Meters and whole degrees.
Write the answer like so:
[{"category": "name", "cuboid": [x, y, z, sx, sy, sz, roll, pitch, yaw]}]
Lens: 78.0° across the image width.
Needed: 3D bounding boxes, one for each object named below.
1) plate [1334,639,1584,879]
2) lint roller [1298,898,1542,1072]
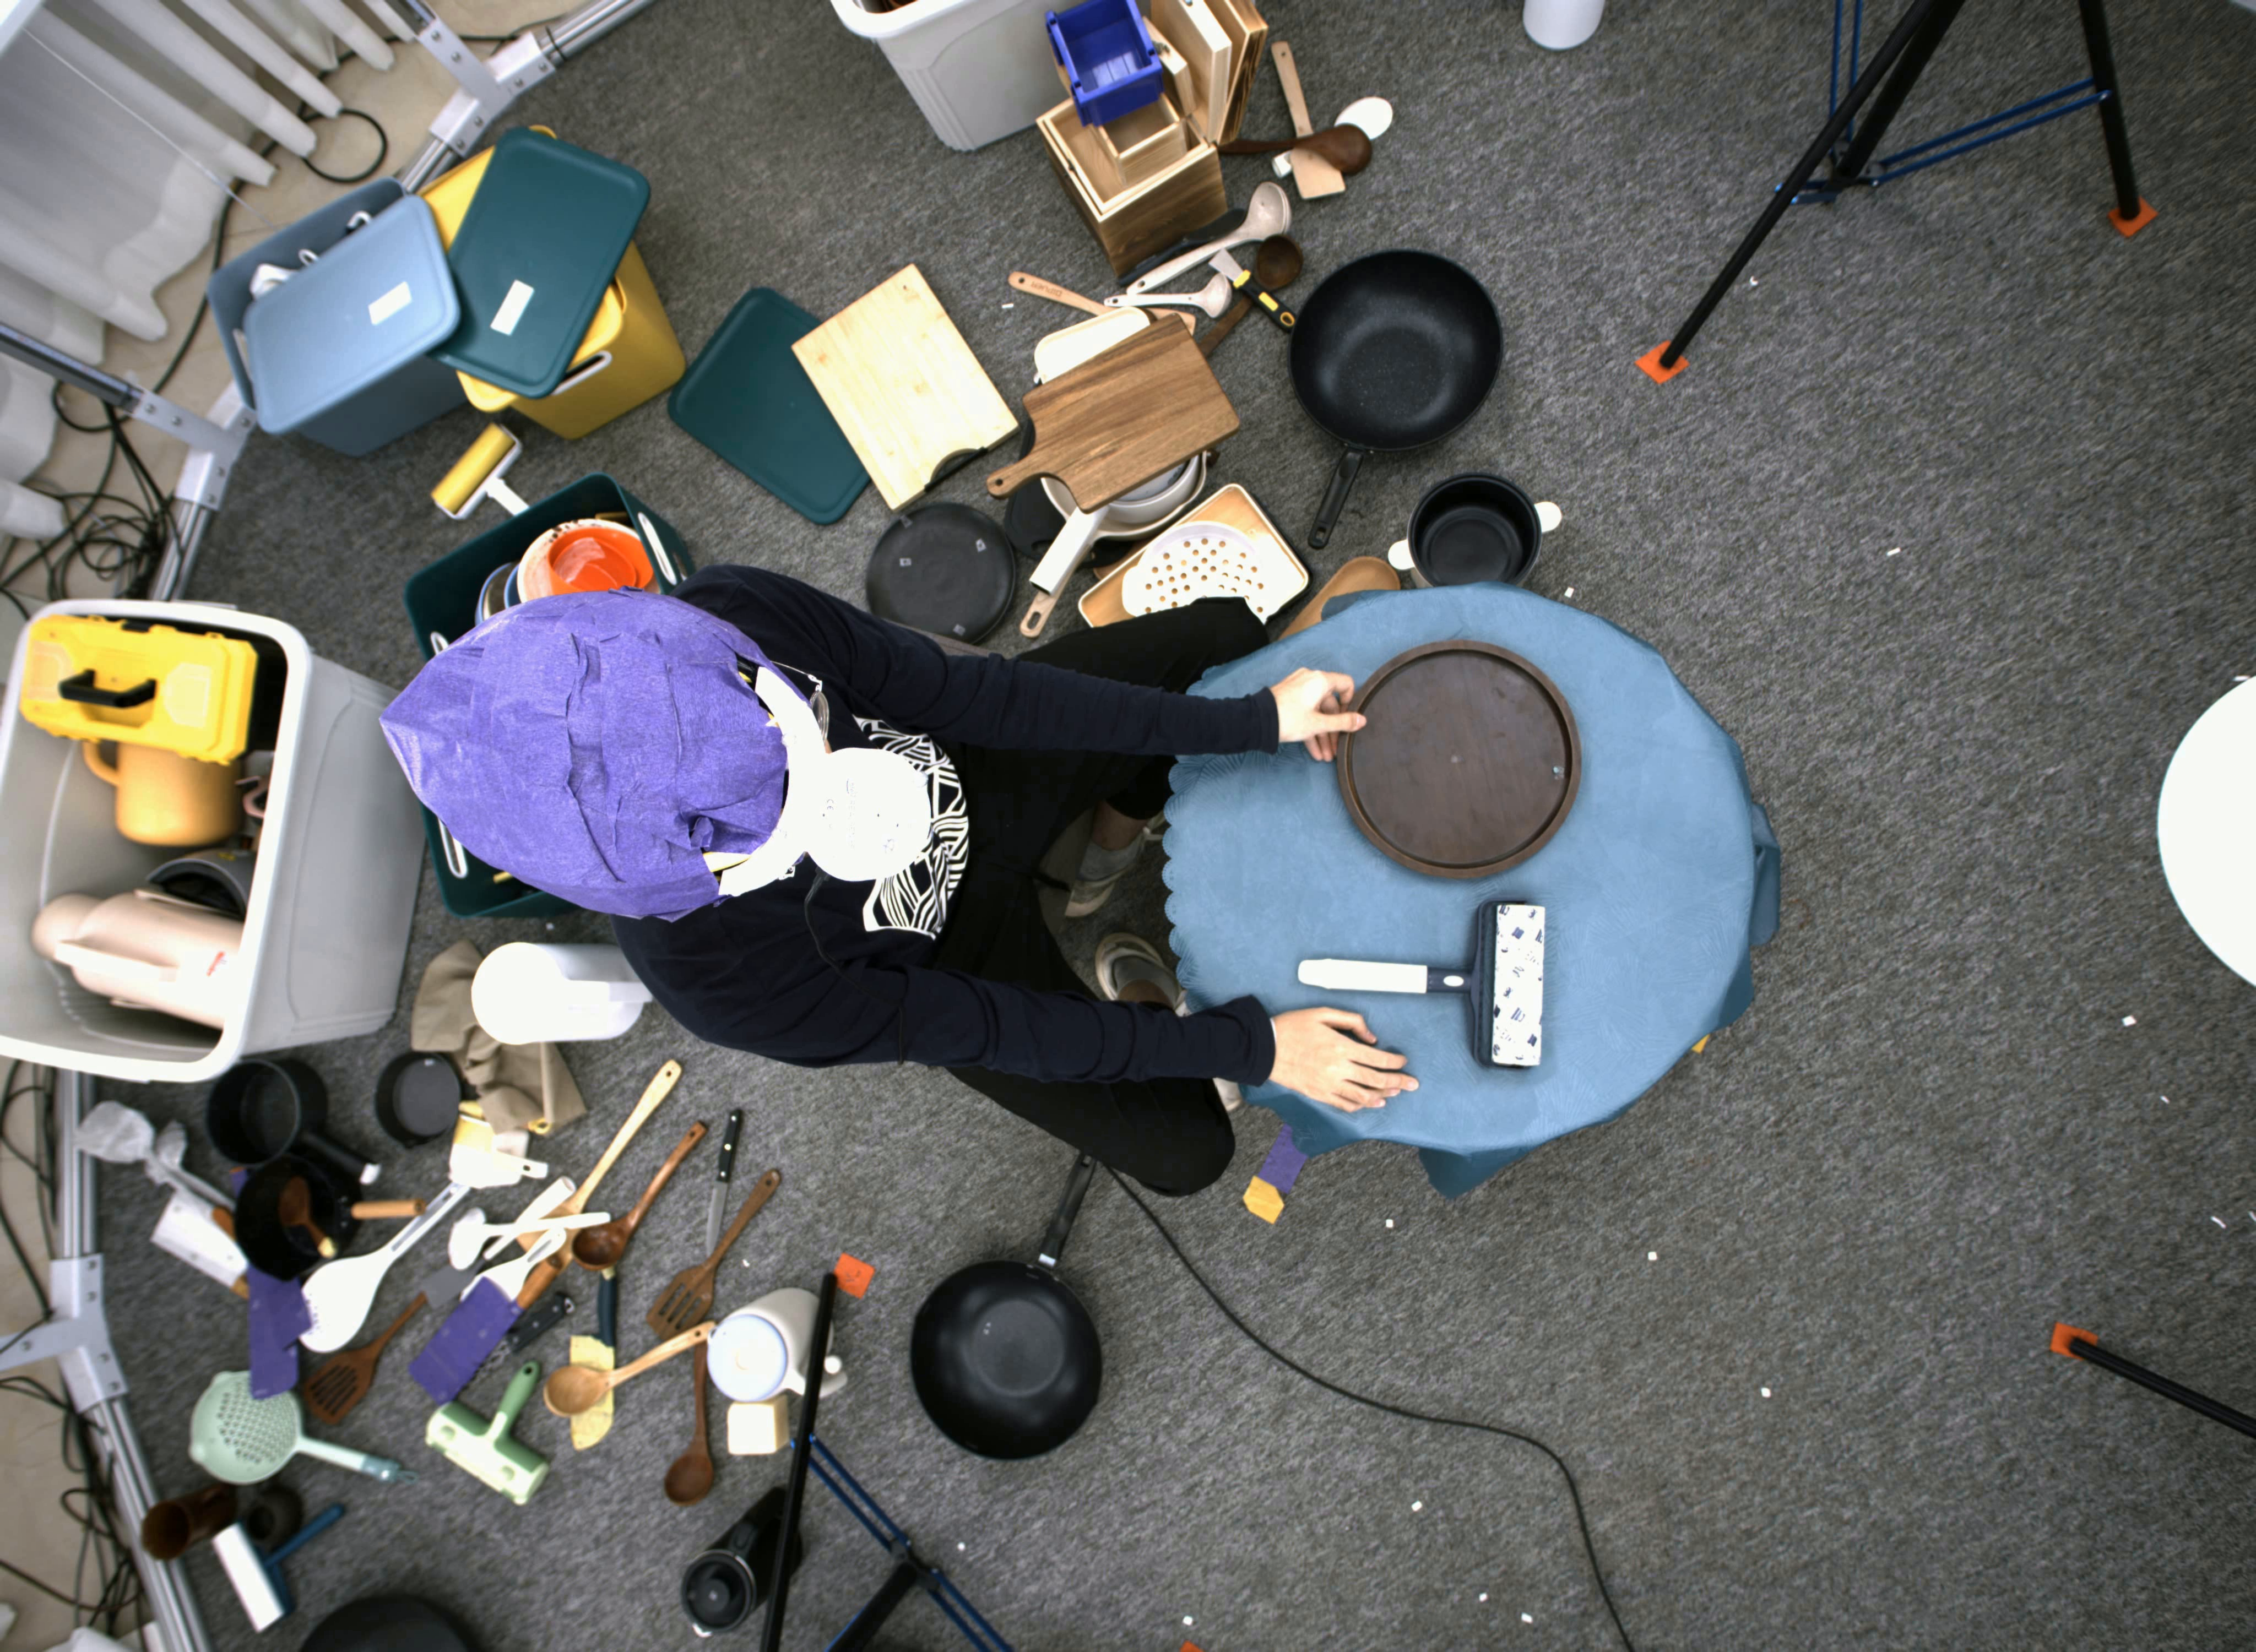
[{"category": "plate", "cuboid": [0.344, -0.072, 1.439, 0.256, 0.029, 0.254, -1, 87, 11]}, {"category": "lint roller", "cuboid": [0.299, 0.158, 1.429, 0.248, 0.050, 0.176, 1, 88, 13]}]
